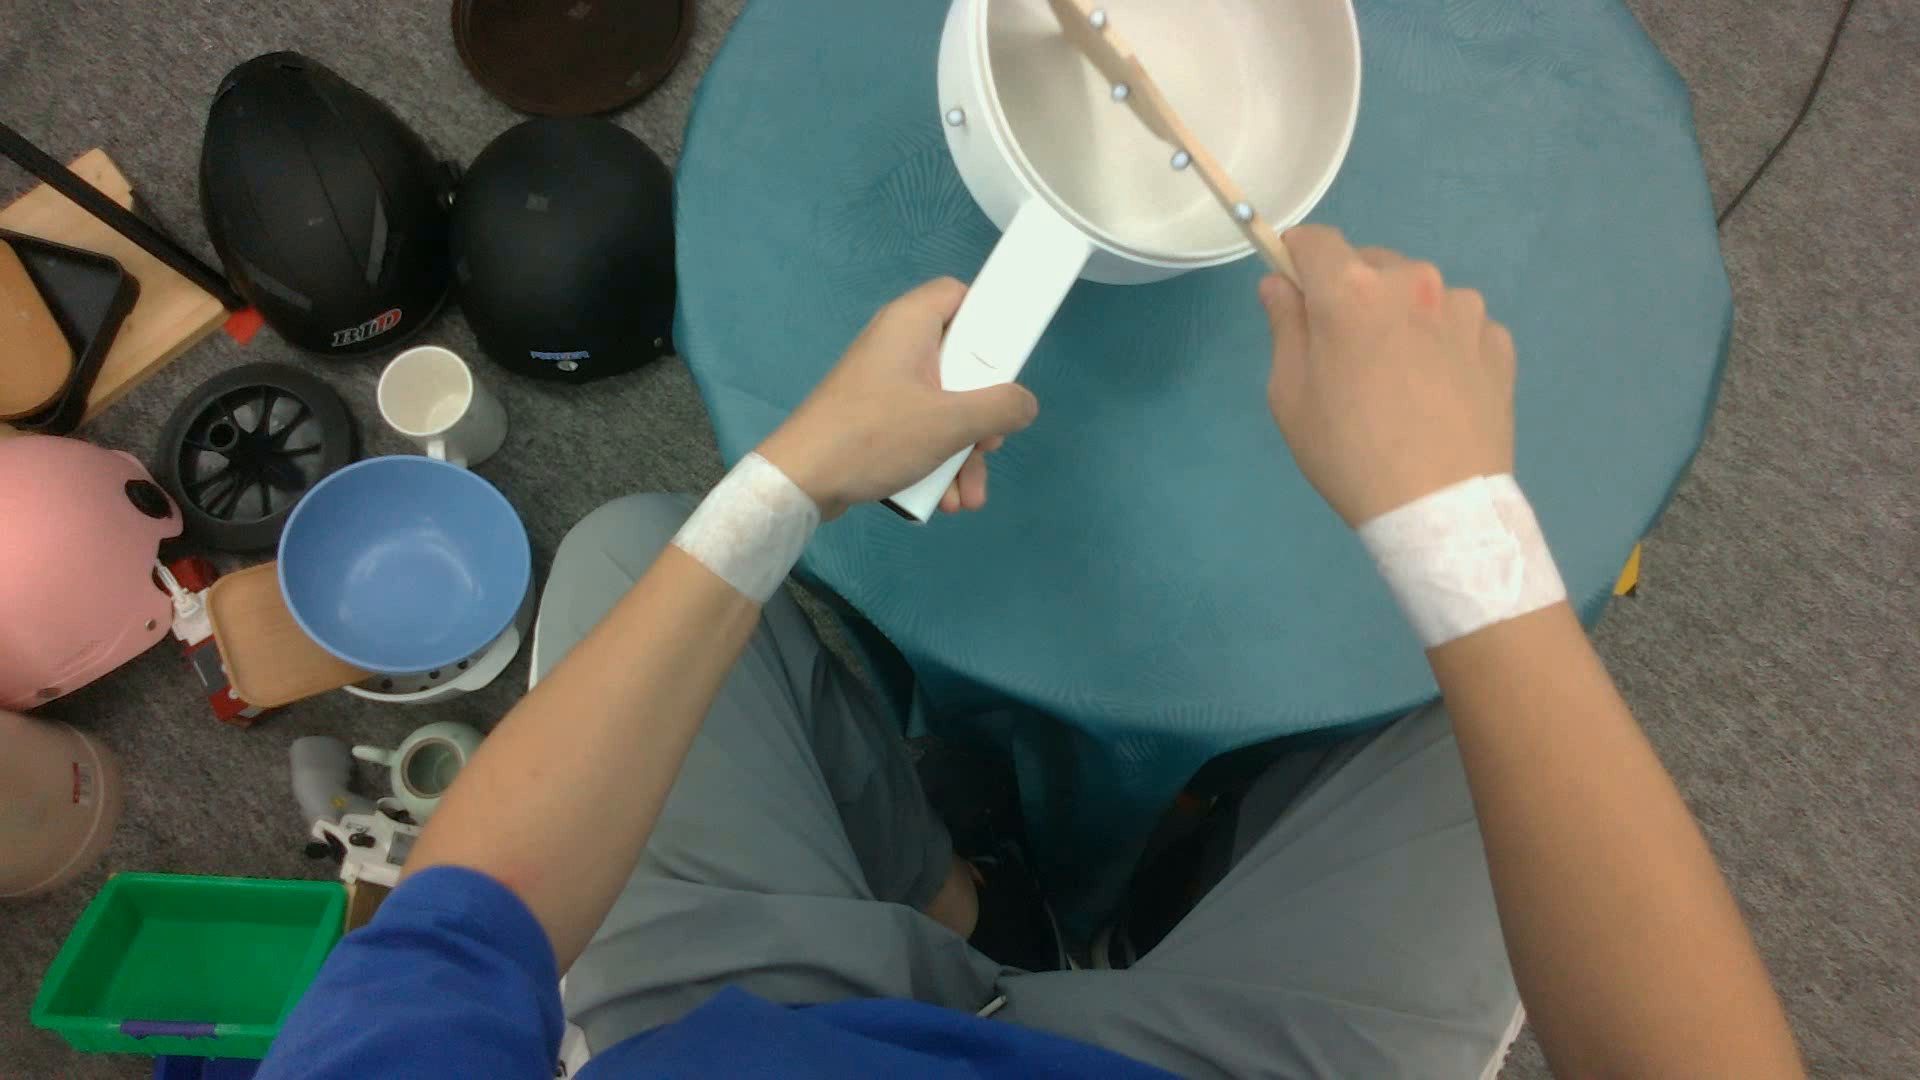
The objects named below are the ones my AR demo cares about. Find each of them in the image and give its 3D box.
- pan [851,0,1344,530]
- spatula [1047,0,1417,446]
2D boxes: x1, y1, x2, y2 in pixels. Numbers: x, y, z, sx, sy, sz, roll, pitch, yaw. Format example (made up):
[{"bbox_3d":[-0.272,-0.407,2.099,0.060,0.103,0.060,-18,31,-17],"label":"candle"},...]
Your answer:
[{"bbox_3d":[0.048,-0.164,0.700,0.201,0.102,0.355,33,81,-15],"label":"pan"},{"bbox_3d":[0.116,-0.155,0.620,0.010,0.072,0.293,-35,65,8],"label":"spatula"}]
